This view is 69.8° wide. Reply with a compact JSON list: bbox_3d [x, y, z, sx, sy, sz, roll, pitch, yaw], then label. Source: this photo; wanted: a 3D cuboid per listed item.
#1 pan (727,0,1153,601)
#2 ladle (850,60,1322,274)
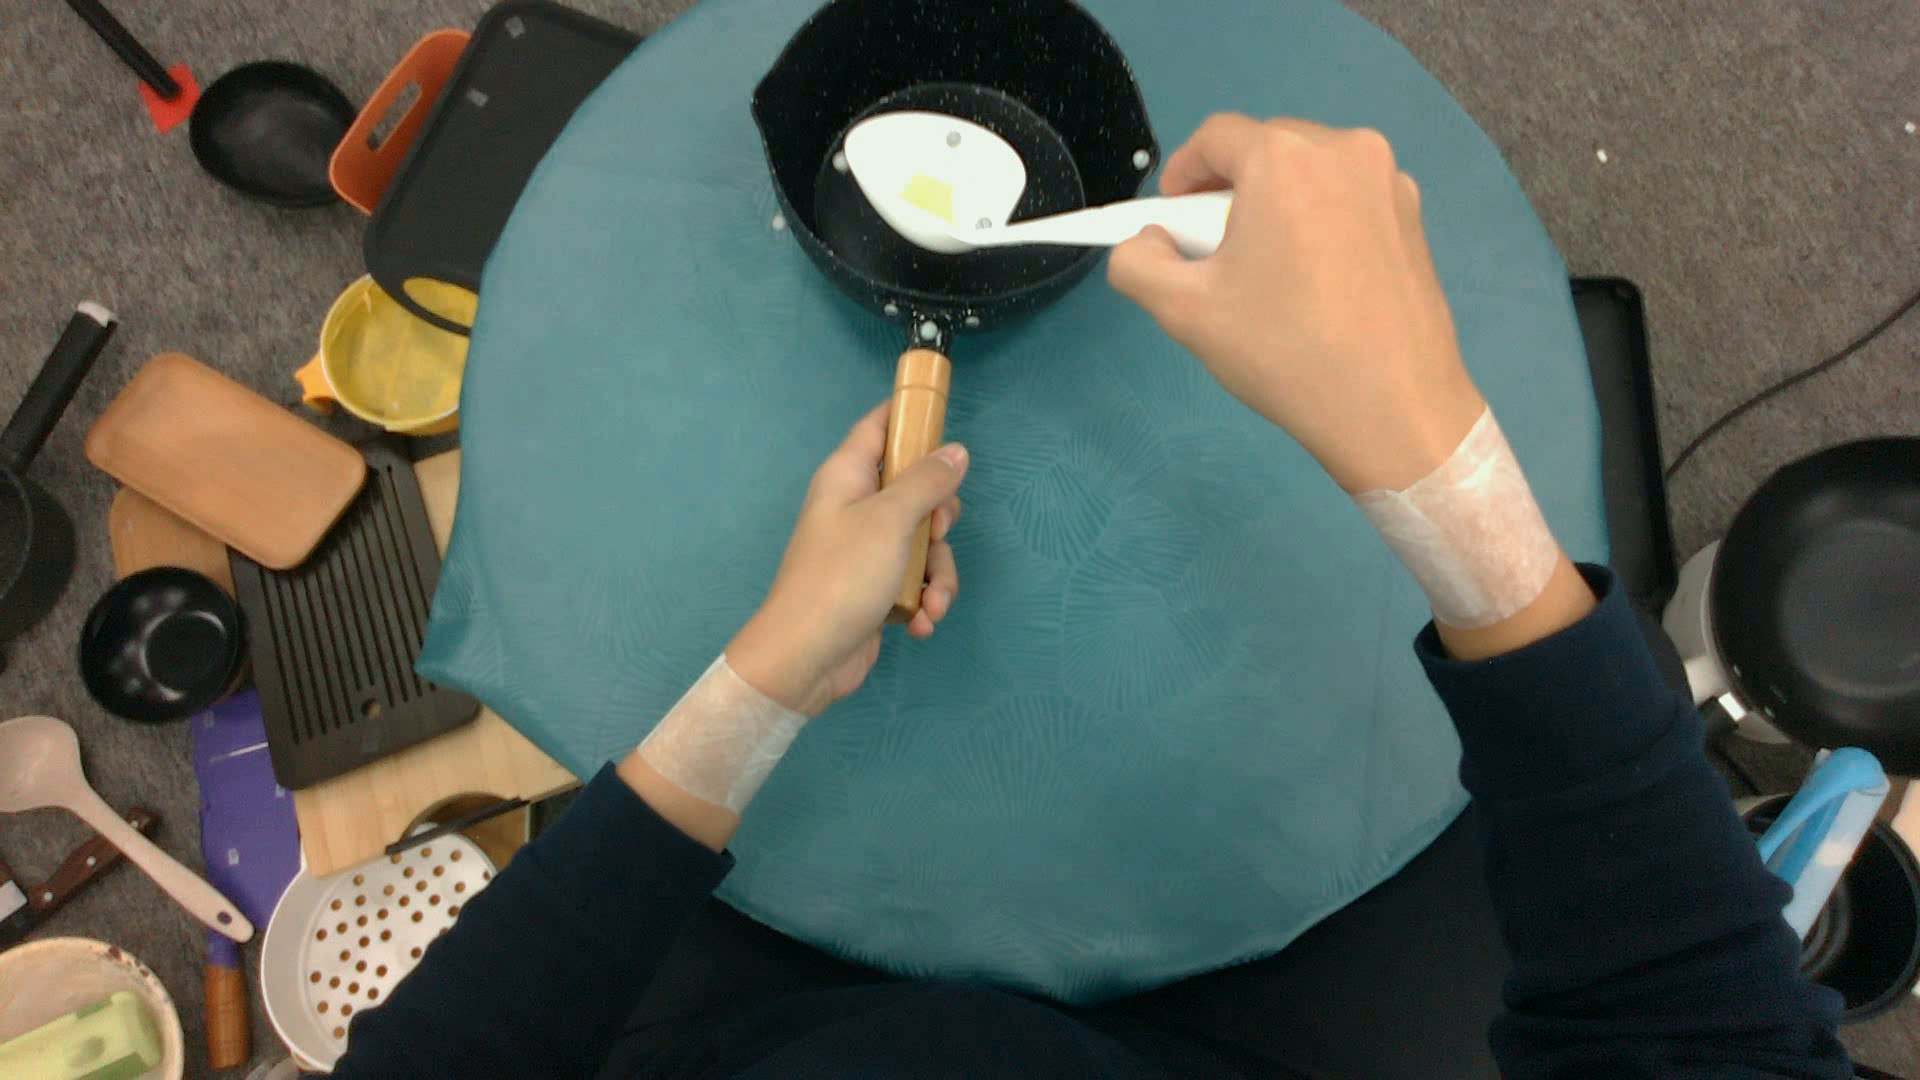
[{"bbox_3d":[-0.017,-0.129,0.670,0.207,0.108,0.343,6,75,-3],"label":"pan"},{"bbox_3d":[0.041,-0.159,0.562,0.090,0.293,0.070,1,106,-29],"label":"ladle"}]
